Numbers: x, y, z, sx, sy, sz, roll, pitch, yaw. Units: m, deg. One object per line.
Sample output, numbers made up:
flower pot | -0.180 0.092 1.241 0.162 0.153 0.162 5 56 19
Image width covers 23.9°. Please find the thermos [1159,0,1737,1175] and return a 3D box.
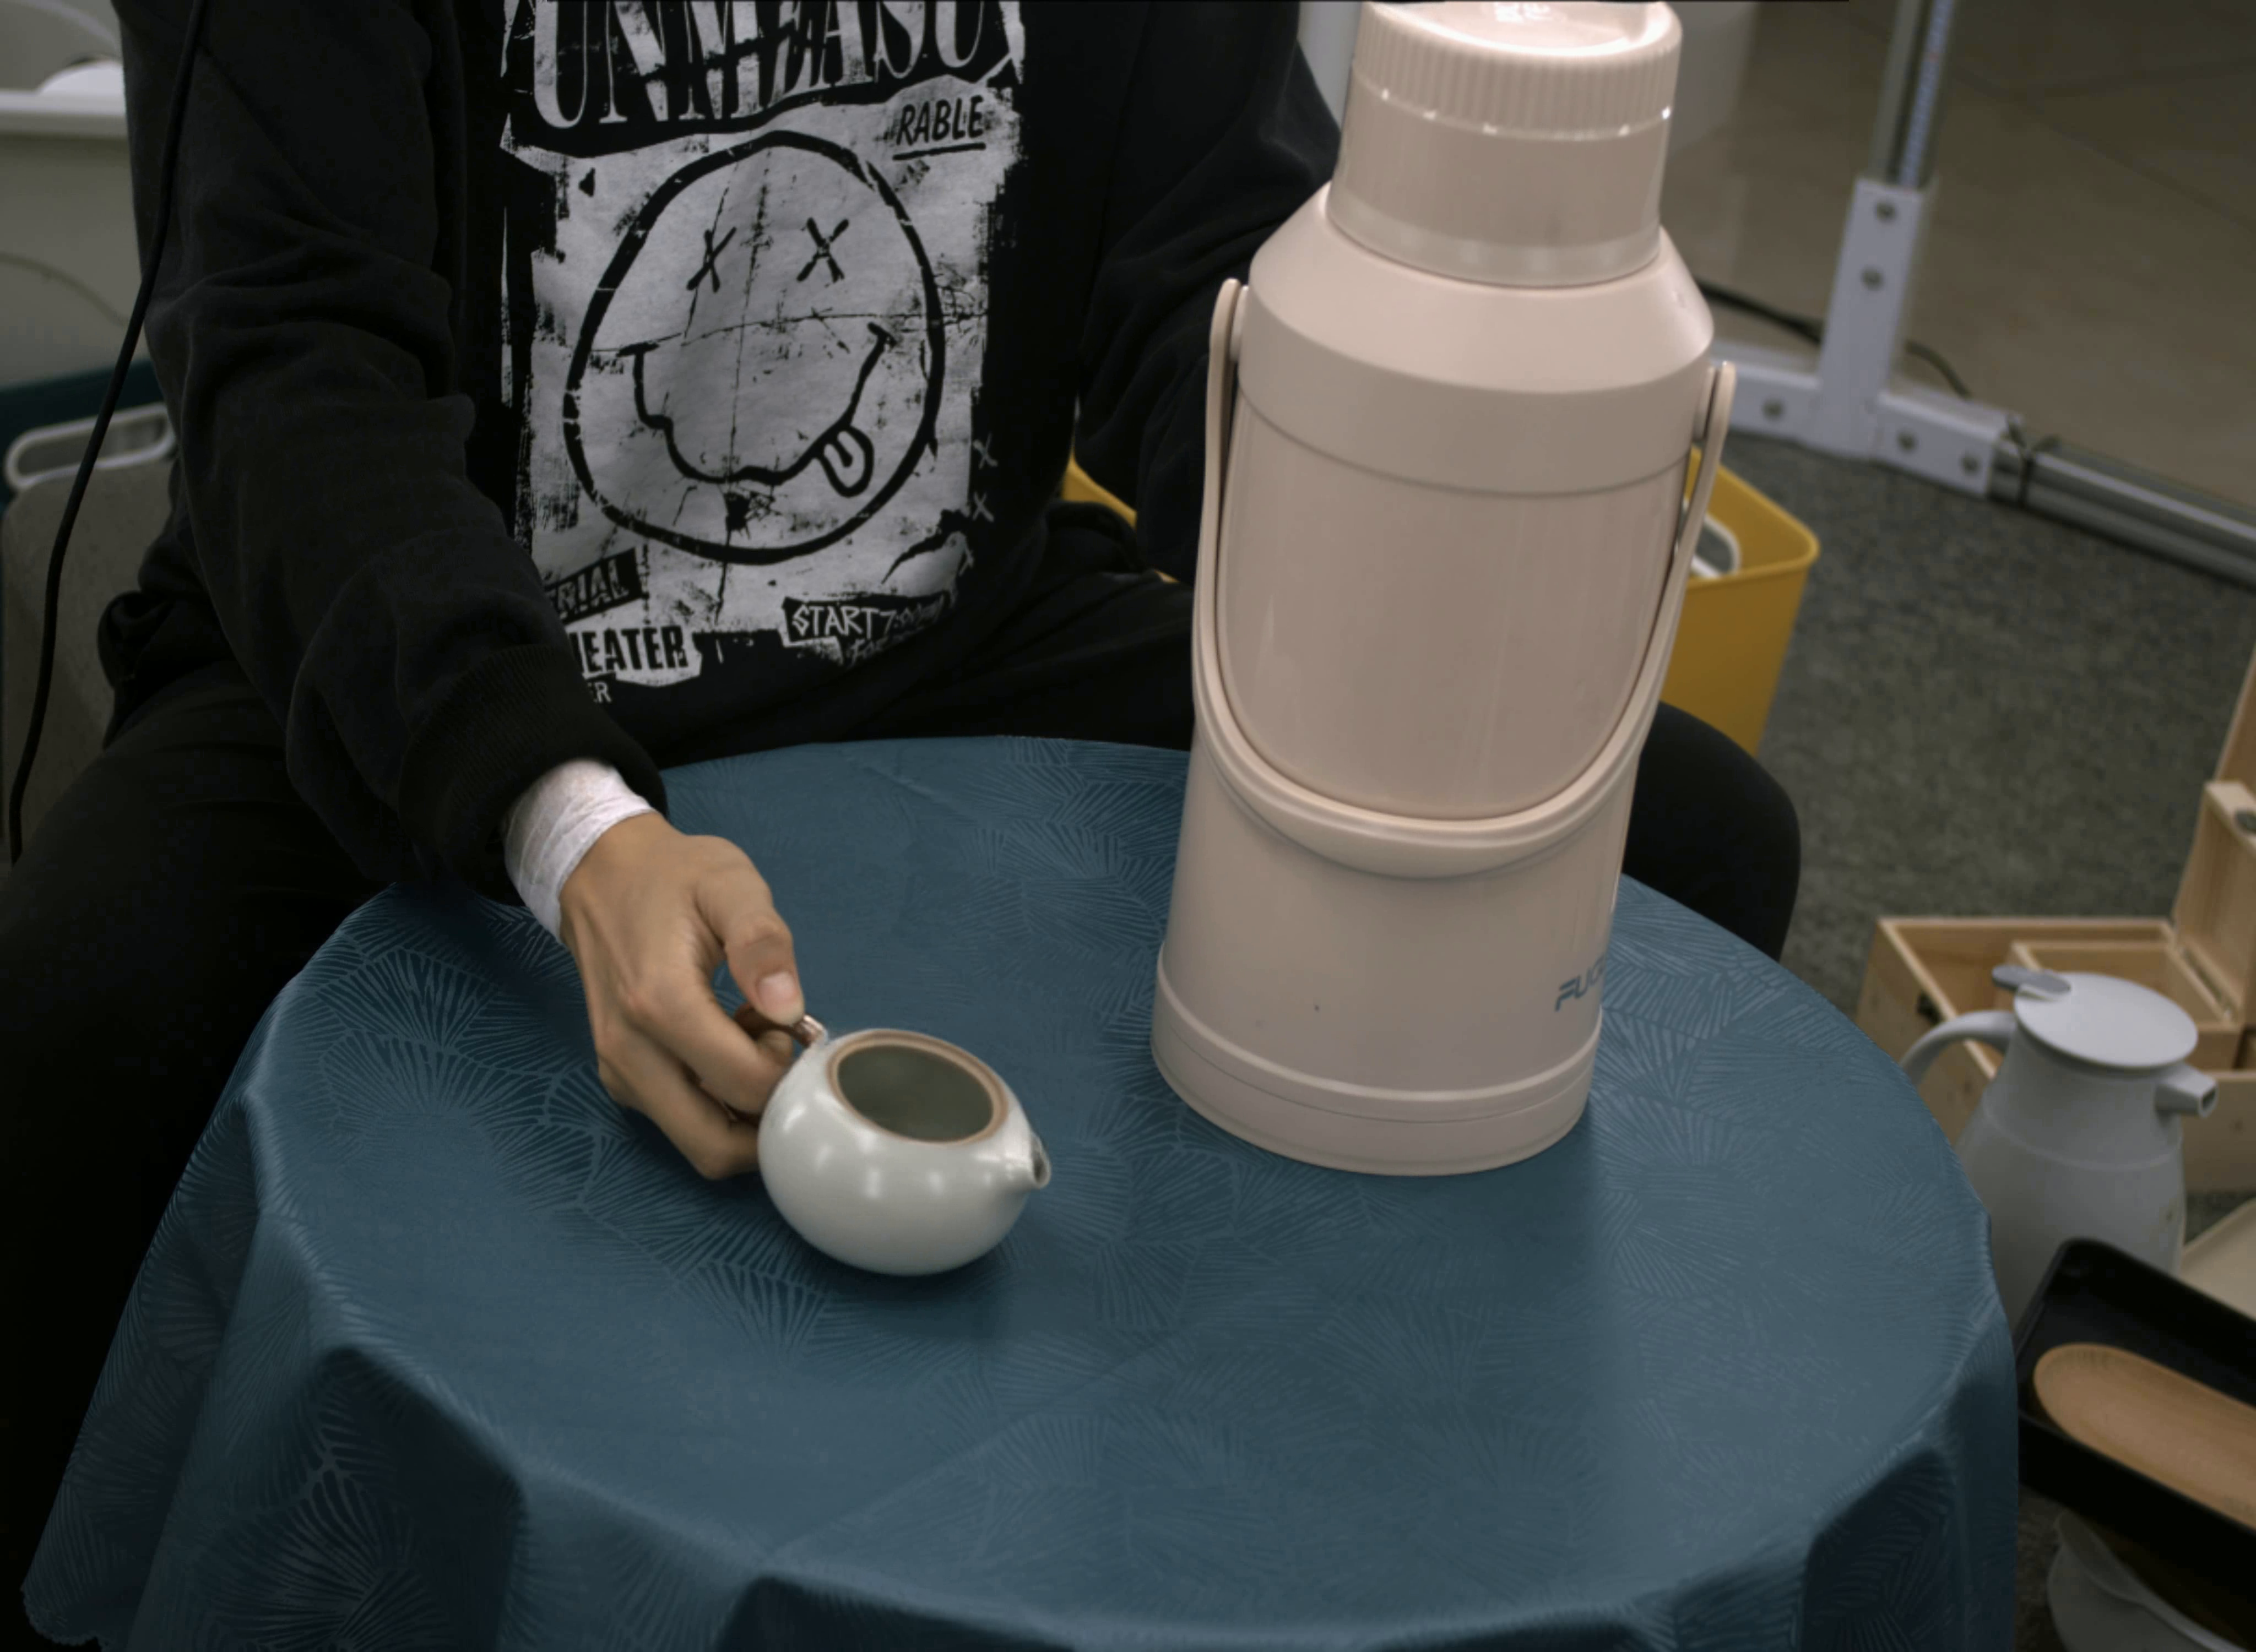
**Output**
thermos | 0.111 -0.096 1.827 0.175 0.405 0.208 8 27 6

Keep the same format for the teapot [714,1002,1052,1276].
teapot | -0.084 0.103 1.750 0.128 0.059 0.091 30 36 19
